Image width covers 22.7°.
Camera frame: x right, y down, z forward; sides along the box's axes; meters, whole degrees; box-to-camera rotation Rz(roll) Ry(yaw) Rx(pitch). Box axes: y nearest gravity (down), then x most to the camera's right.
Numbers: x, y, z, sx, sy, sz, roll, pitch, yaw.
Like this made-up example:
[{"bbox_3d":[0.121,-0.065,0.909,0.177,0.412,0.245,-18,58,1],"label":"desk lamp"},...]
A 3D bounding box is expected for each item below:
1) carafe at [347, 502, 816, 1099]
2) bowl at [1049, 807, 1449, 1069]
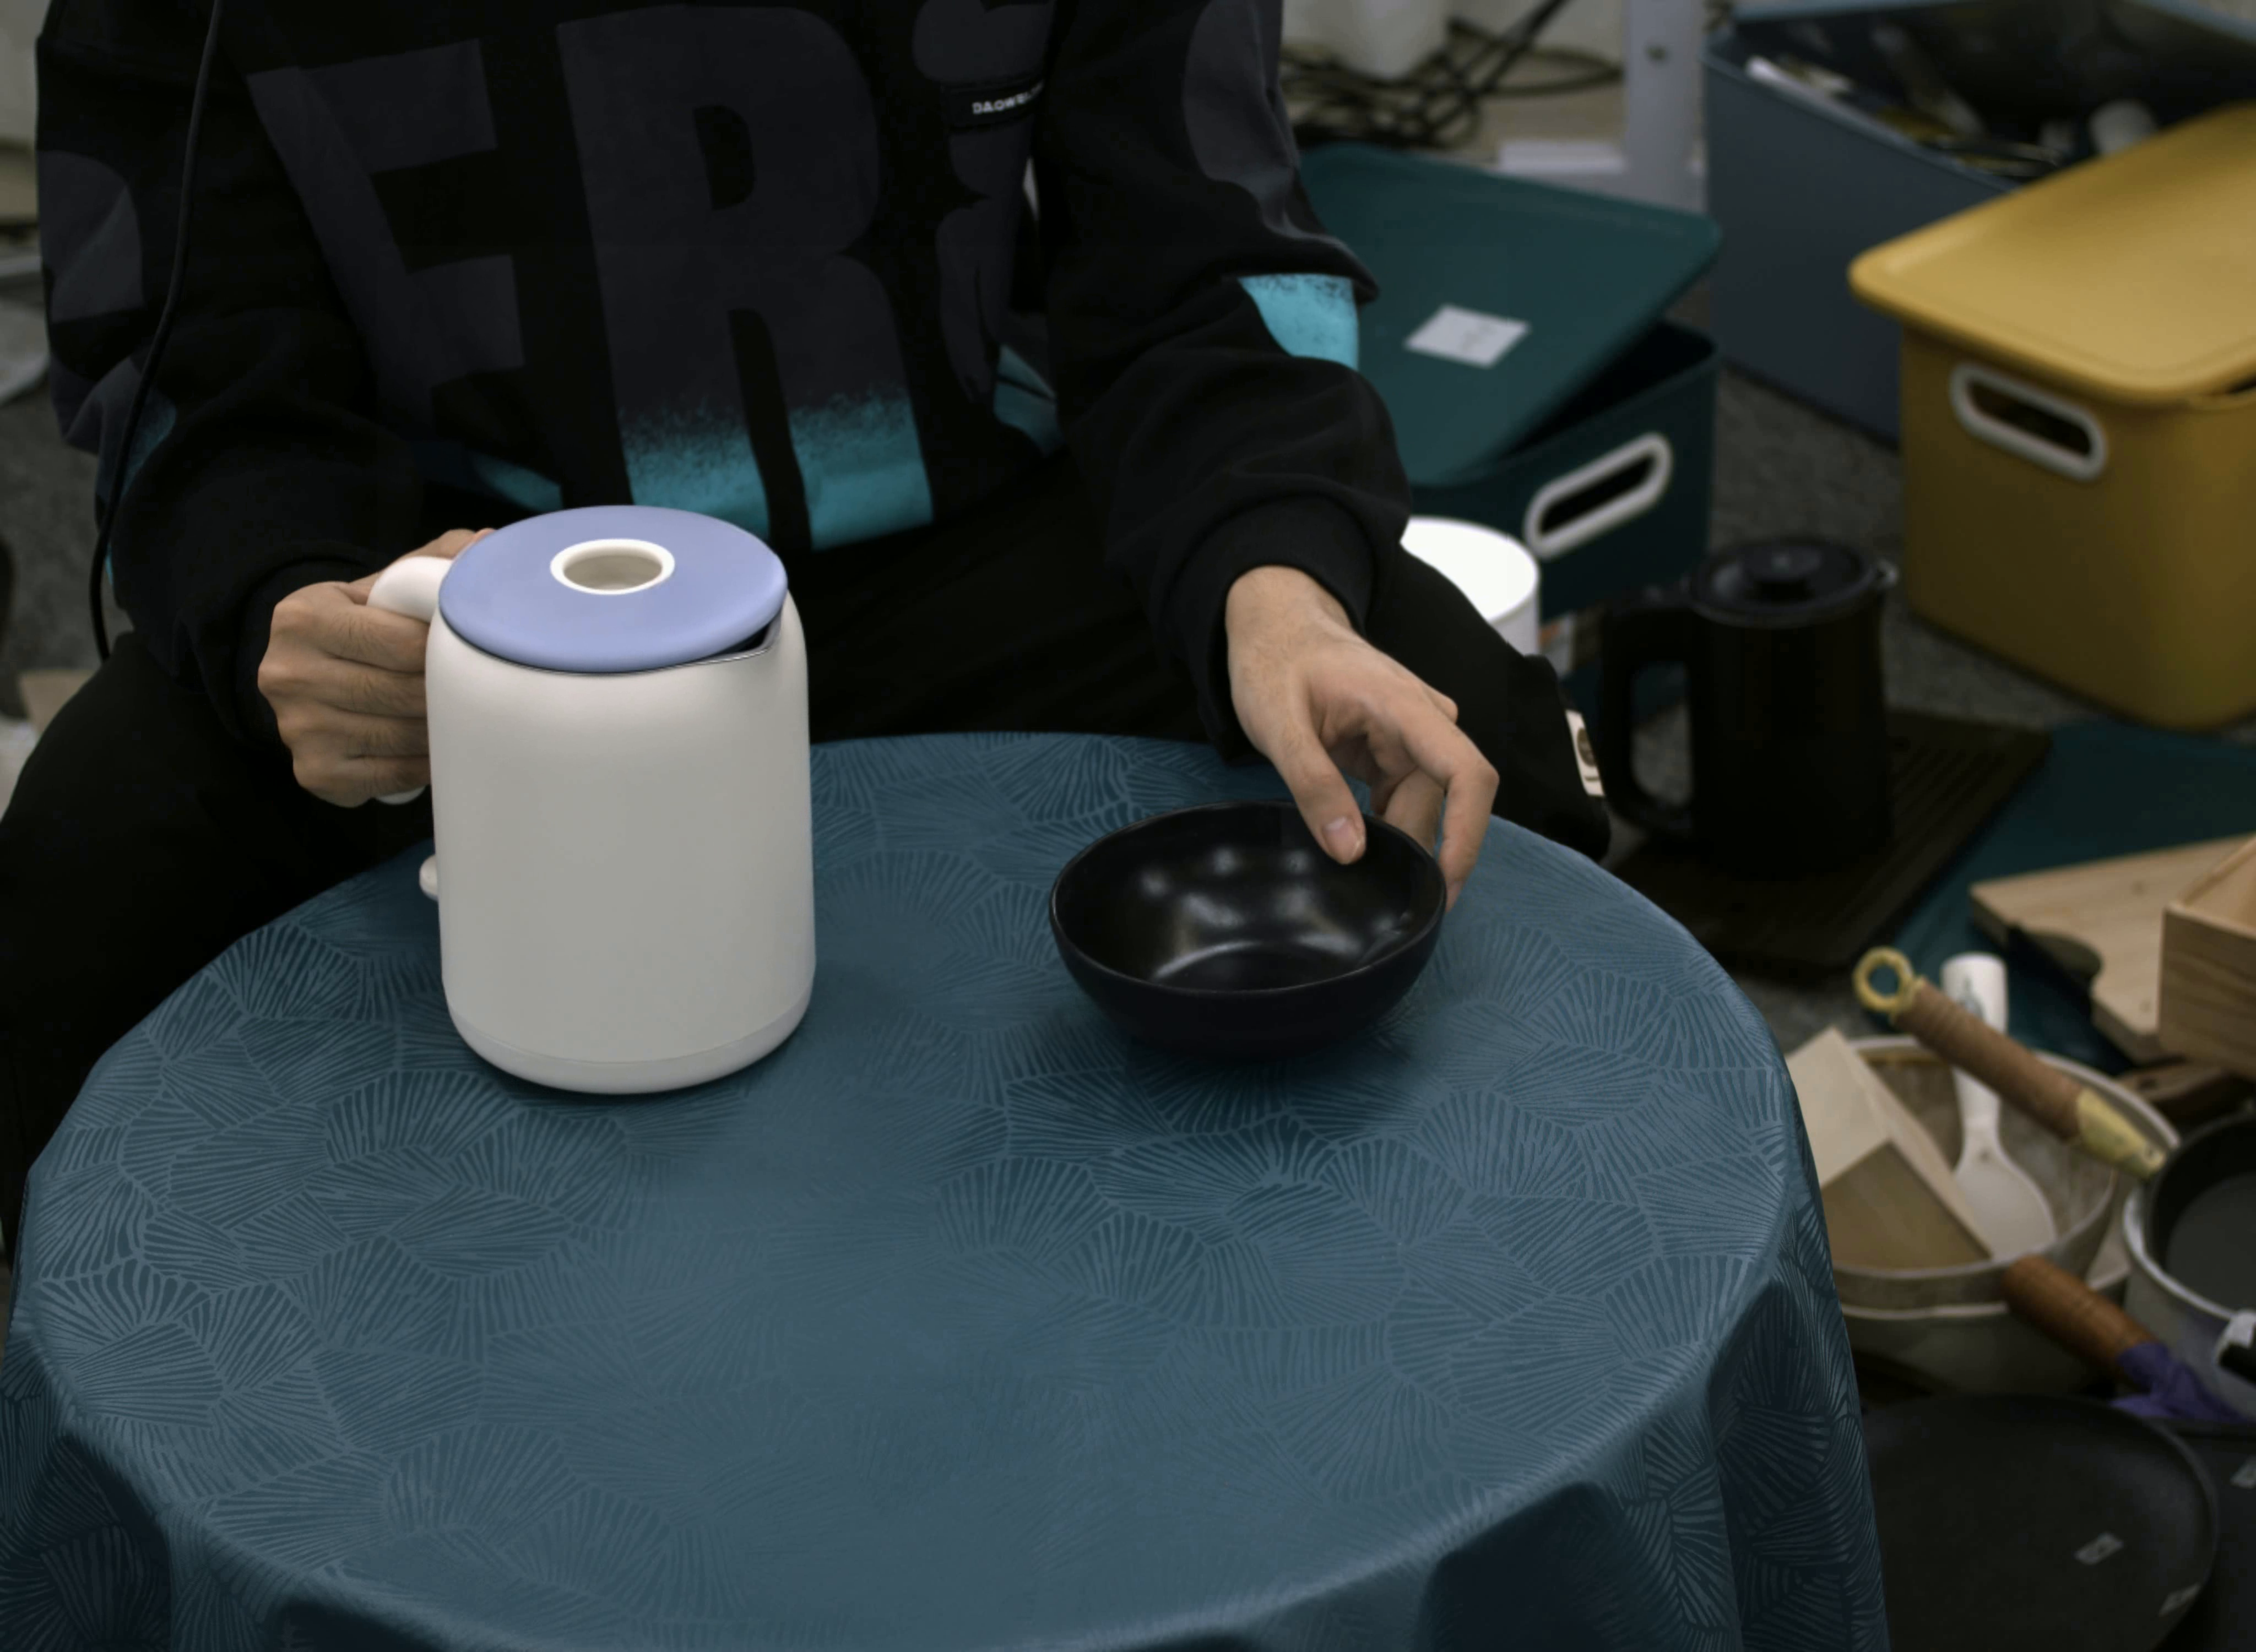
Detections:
[{"bbox_3d":[-0.195,-0.015,1.951,0.190,0.181,0.134,15,30,31],"label":"carafe"},{"bbox_3d":[0.043,0.046,1.950,0.139,0.049,0.142,-3,26,2],"label":"bowl"}]
